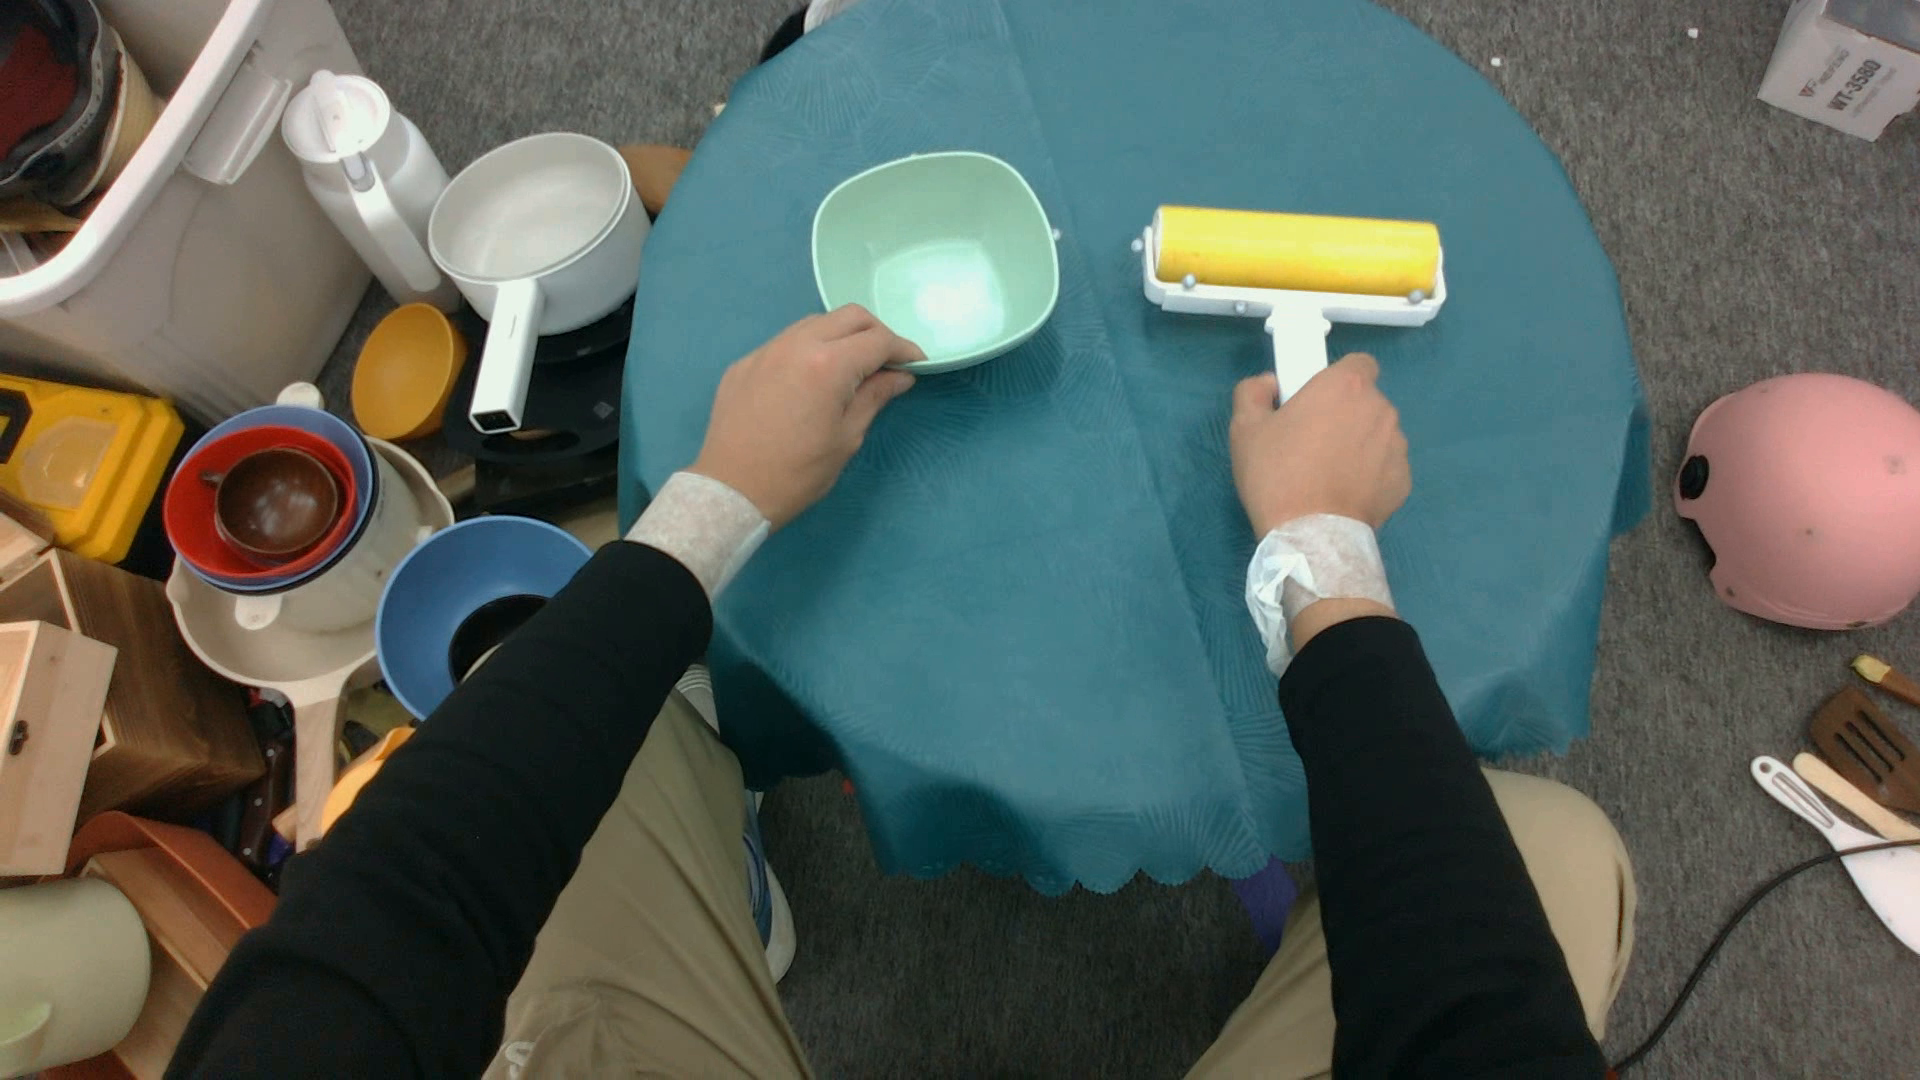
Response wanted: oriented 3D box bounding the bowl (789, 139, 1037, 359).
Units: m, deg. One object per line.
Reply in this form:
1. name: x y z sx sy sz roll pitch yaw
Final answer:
1. bowl: -0.027 -0.161 0.811 0.151 0.058 0.152 0 67 0

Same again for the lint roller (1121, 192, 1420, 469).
1. lint roller: 0.184 -0.124 0.771 0.174 0.051 0.193 2 47 -4
